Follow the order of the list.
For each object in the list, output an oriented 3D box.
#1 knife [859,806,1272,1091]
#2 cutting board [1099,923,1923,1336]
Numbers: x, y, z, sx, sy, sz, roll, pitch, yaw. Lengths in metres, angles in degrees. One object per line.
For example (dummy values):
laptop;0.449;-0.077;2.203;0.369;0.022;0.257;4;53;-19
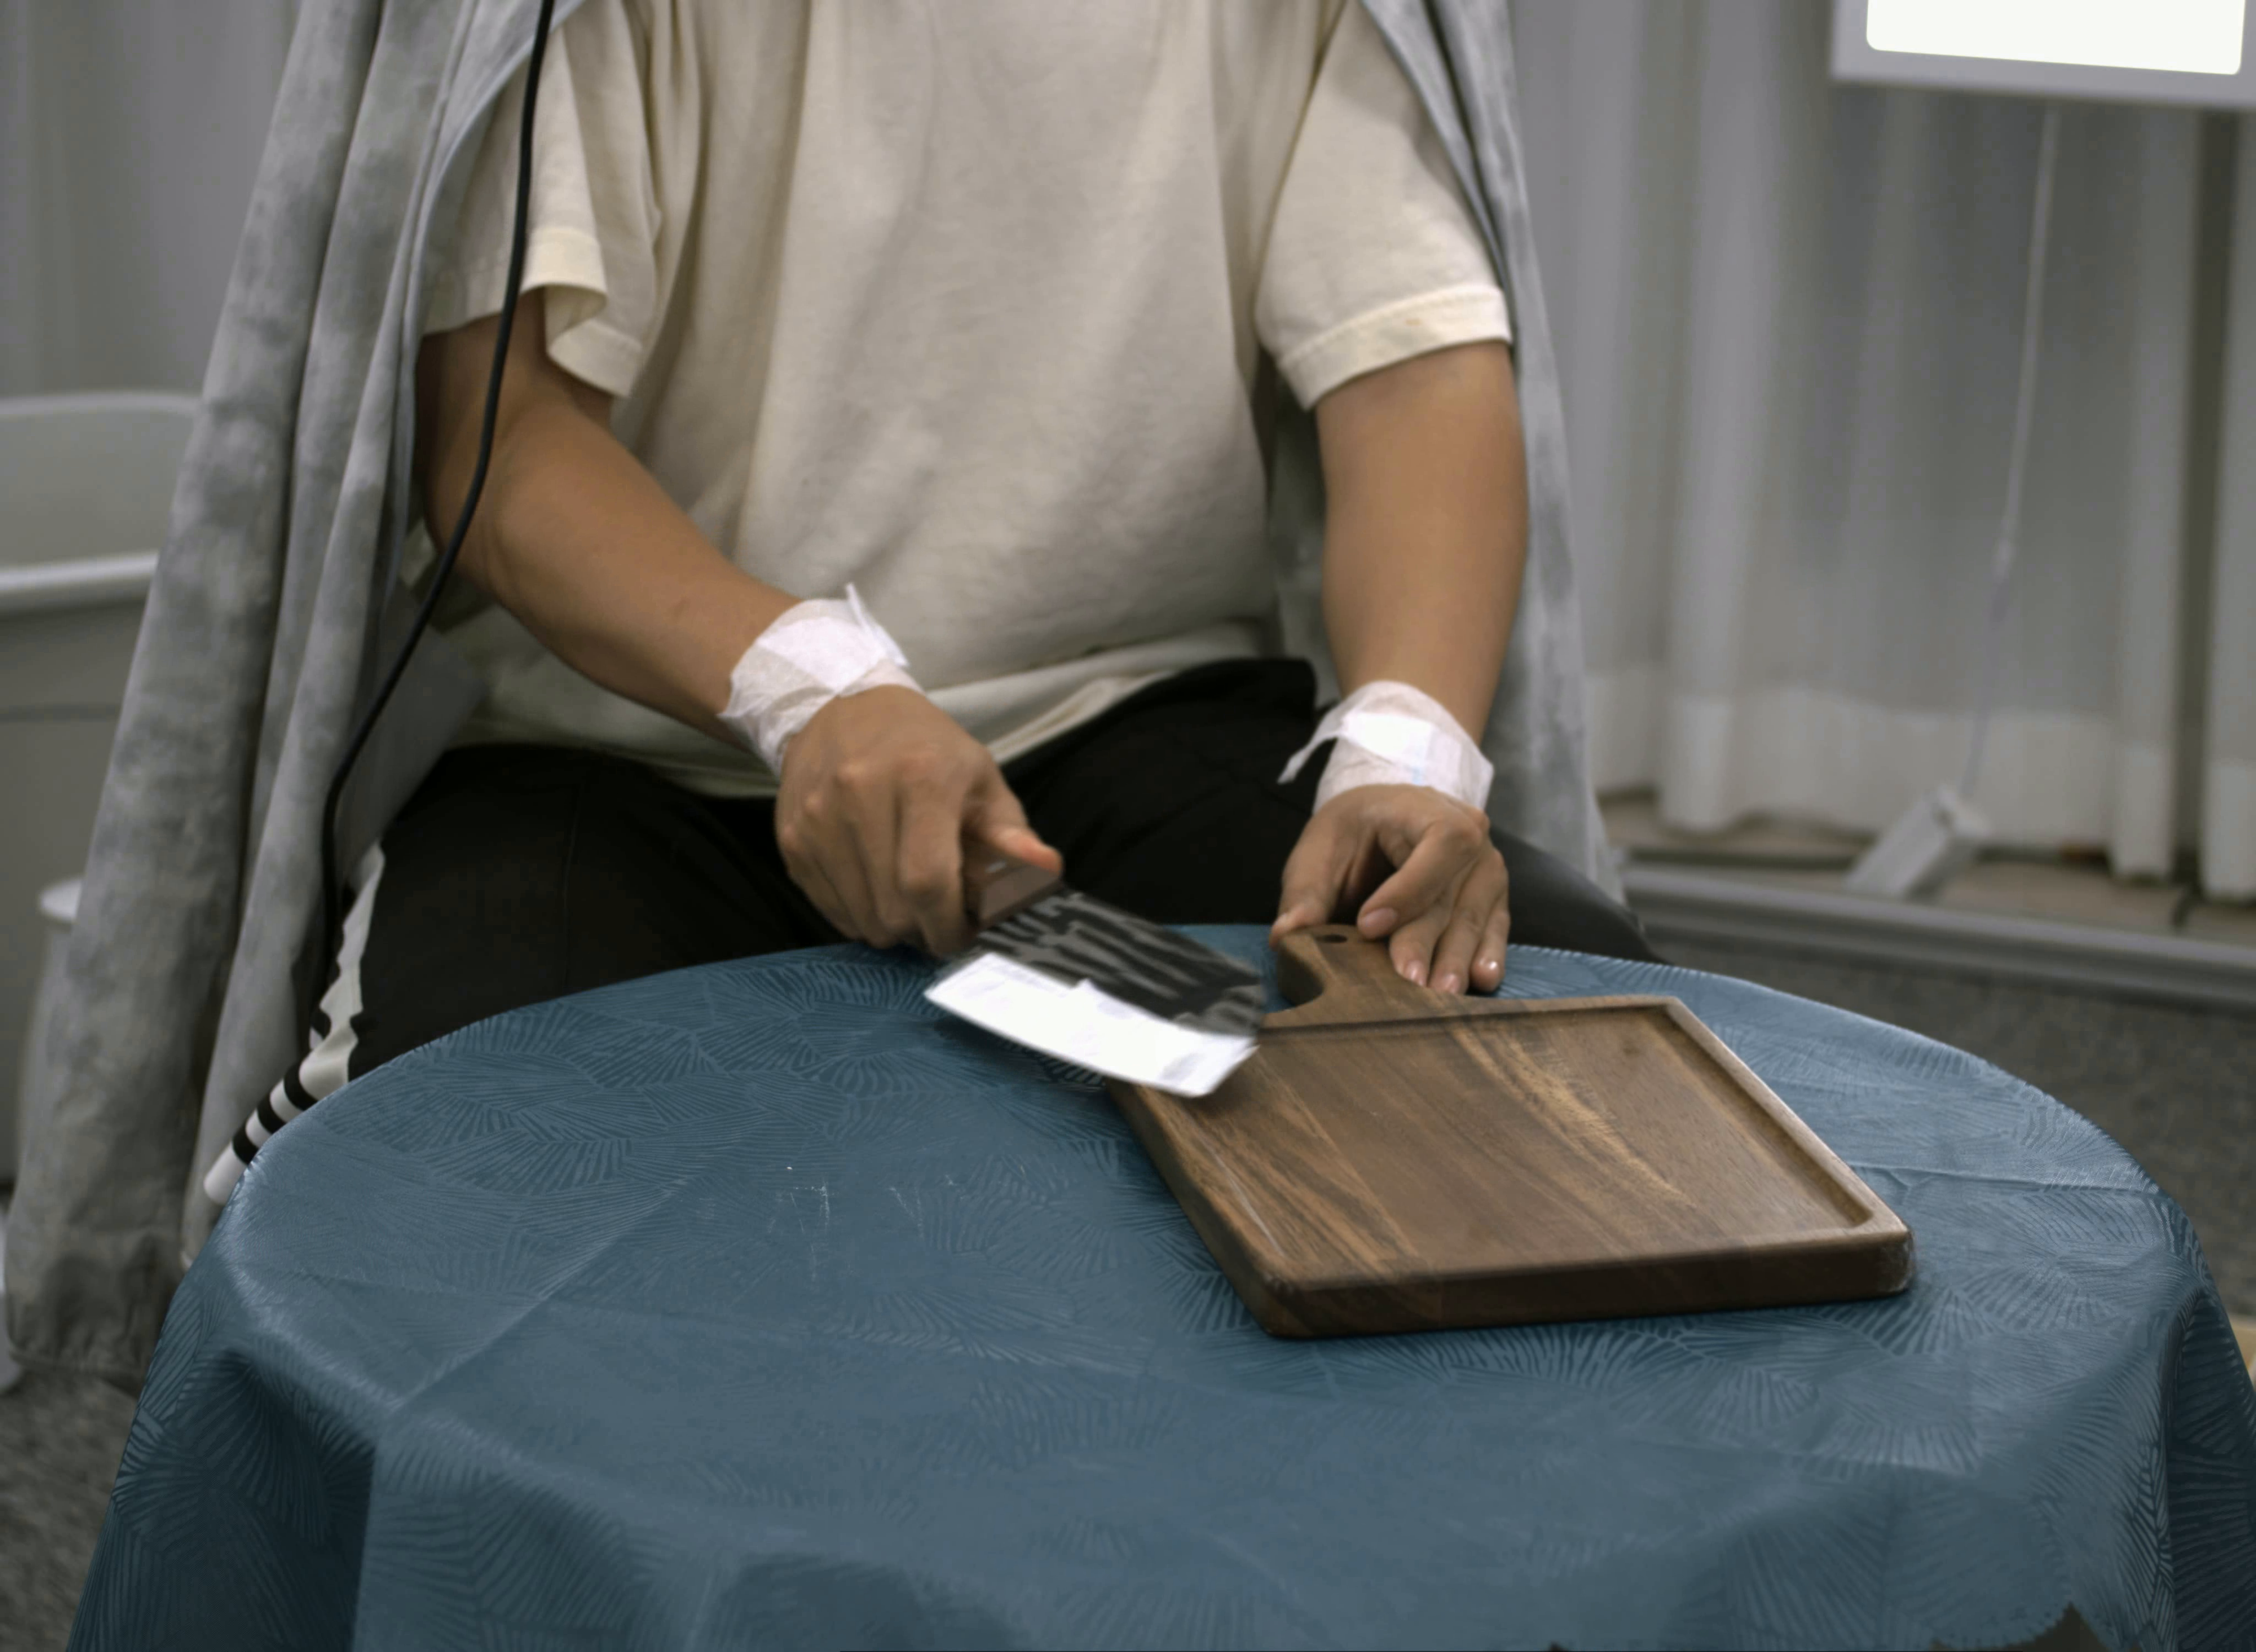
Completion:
knife;-0.031;0.042;1.779;0.068;0.024;0.296;-33;26;-21
cutting board;0.102;0.088;1.680;0.201;0.023;0.349;-3;15;-12
